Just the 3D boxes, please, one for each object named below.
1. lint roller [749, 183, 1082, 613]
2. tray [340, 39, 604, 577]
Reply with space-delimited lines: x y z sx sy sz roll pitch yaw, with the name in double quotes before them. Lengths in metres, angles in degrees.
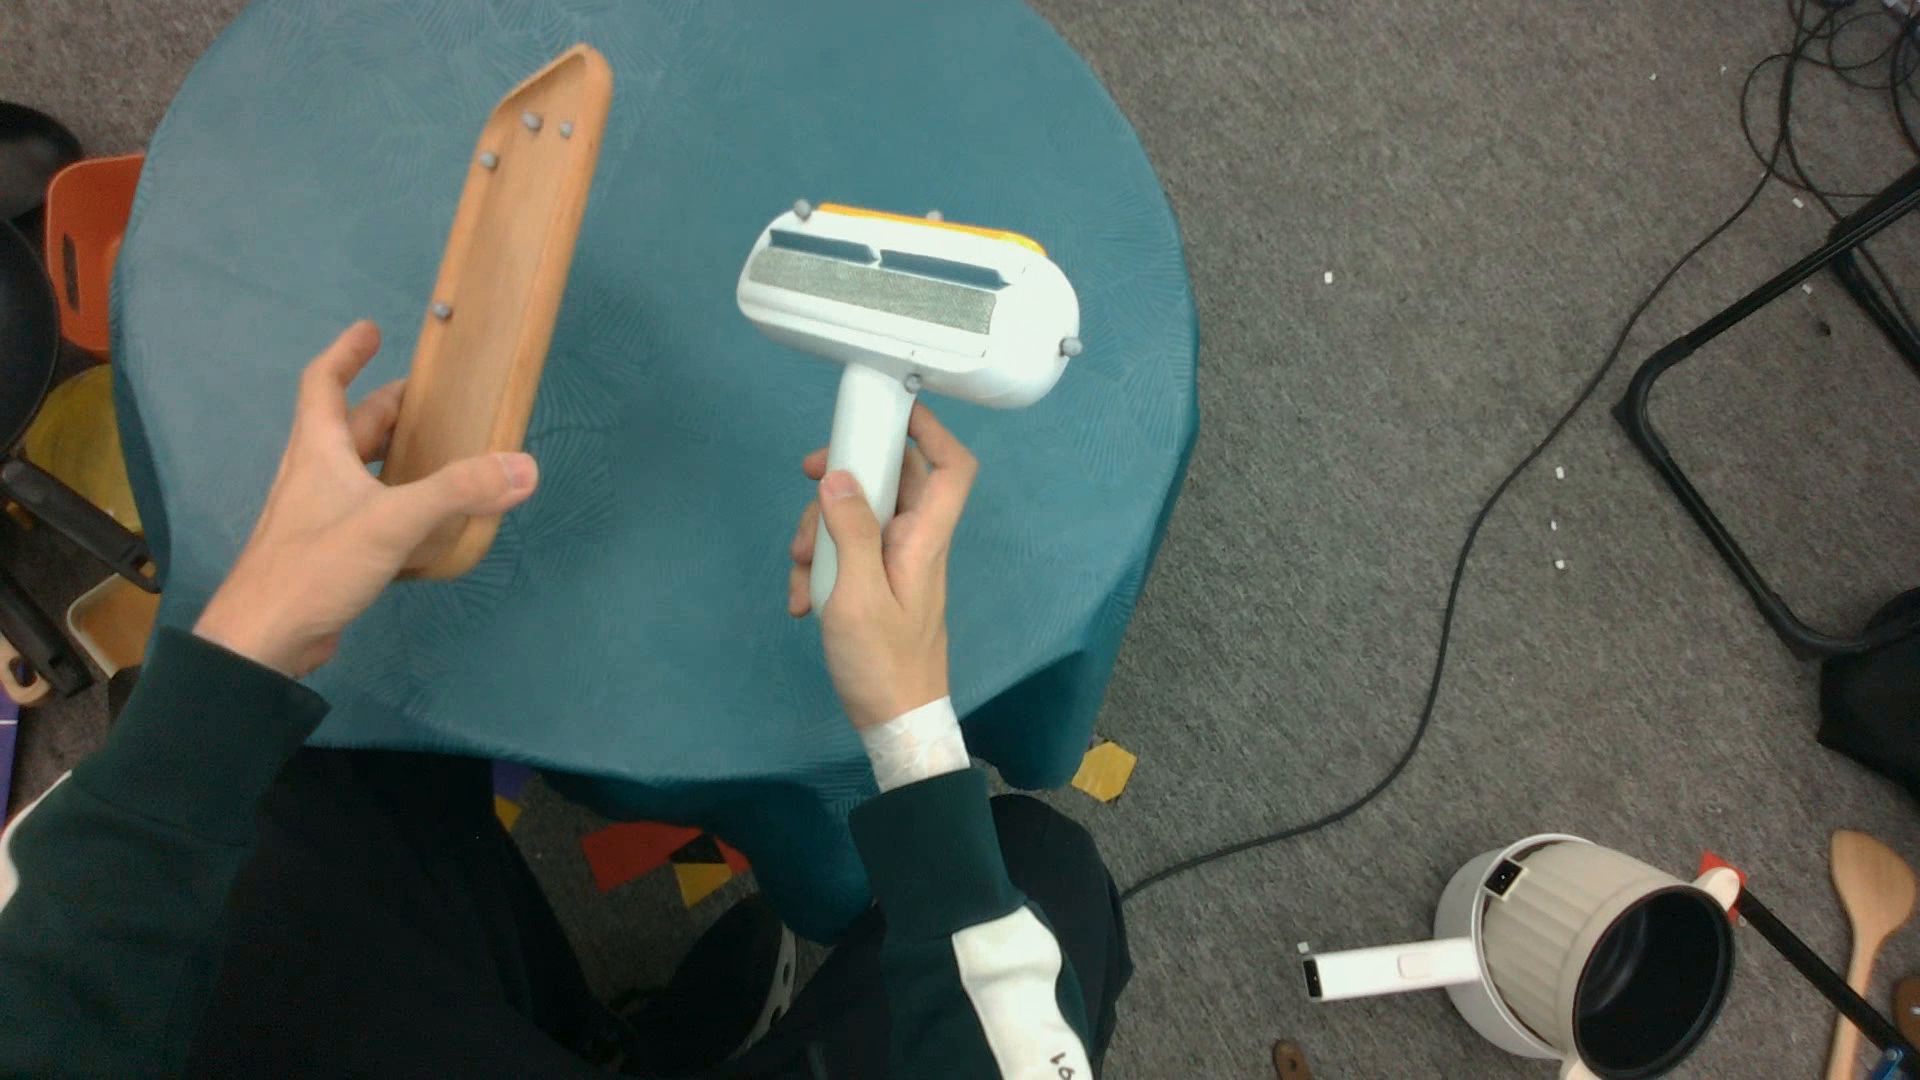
"lint roller" -0.036 -0.055 0.636 0.193 0.192 0.074 28 19 39
"tray" -0.221 -0.103 0.625 0.023 0.130 0.251 20 75 -38
